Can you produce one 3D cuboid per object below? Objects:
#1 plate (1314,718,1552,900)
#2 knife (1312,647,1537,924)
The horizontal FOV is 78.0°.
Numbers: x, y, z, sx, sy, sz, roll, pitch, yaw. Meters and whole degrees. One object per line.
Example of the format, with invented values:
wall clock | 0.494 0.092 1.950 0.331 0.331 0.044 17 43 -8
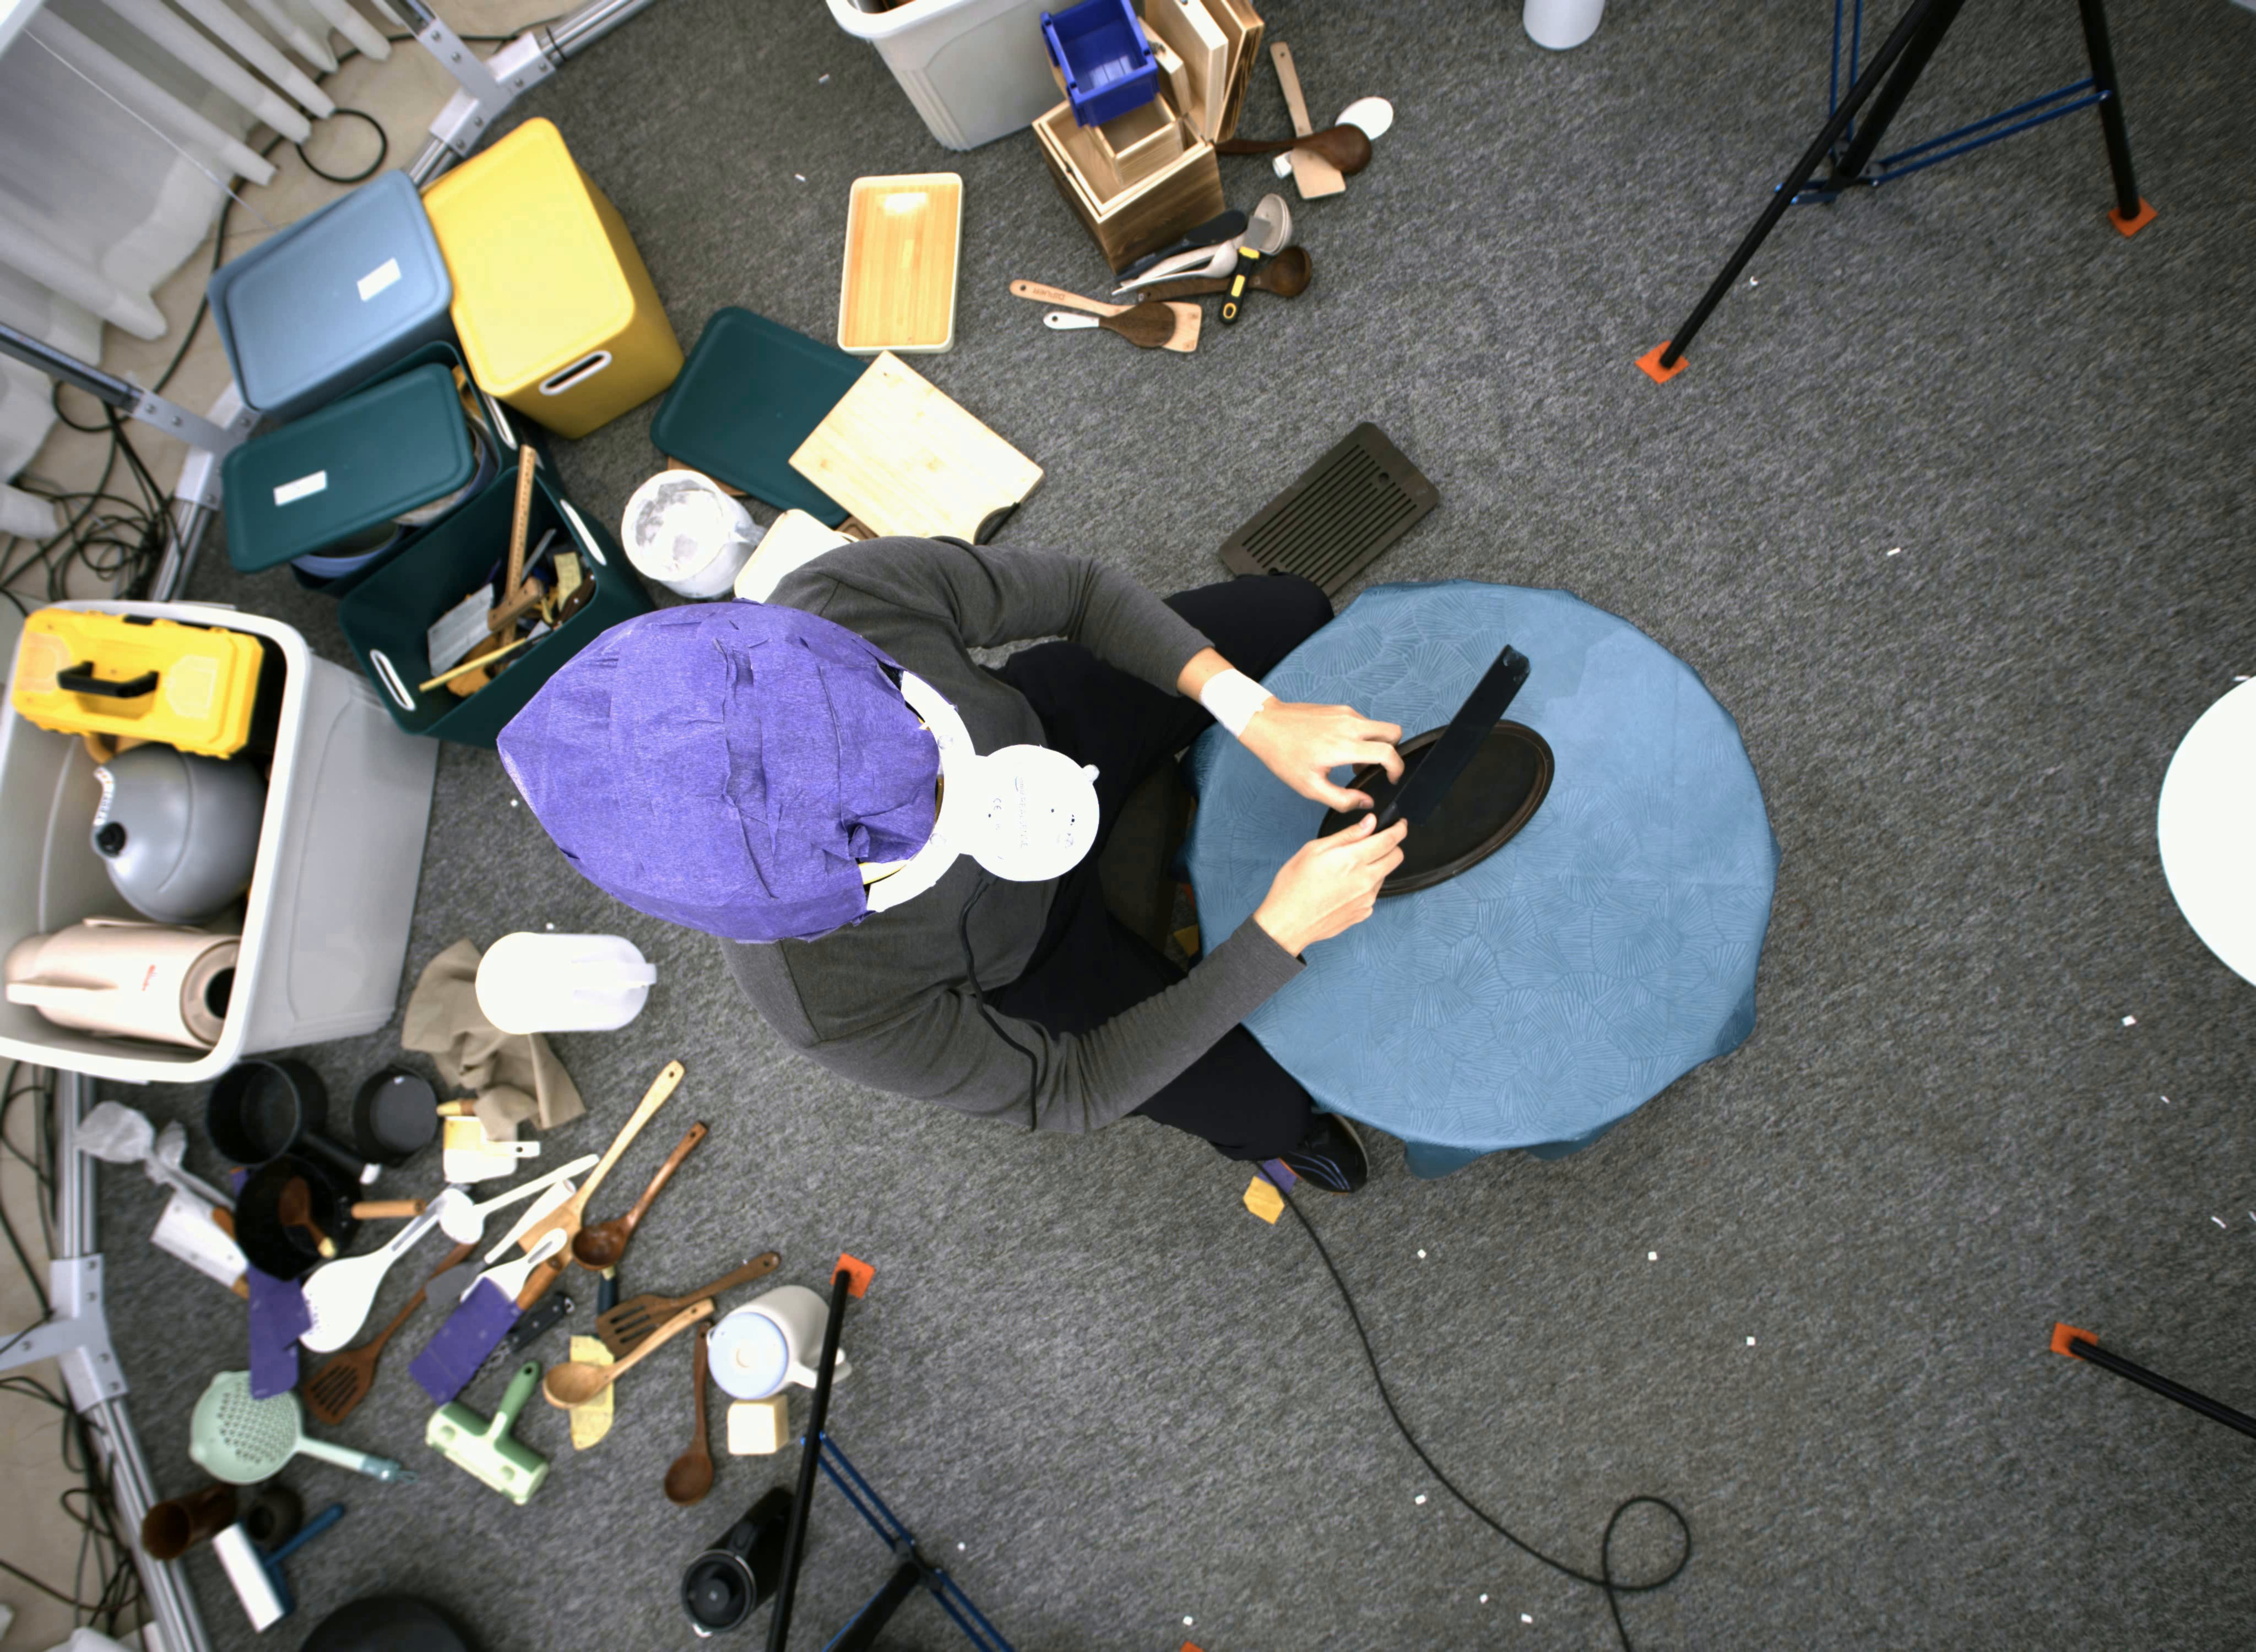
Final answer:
plate | 0.298 -0.016 1.348 0.256 0.258 0.028 -27 55 7
knife | 0.265 -0.033 1.244 0.305 0.081 0.020 -53 50 13
